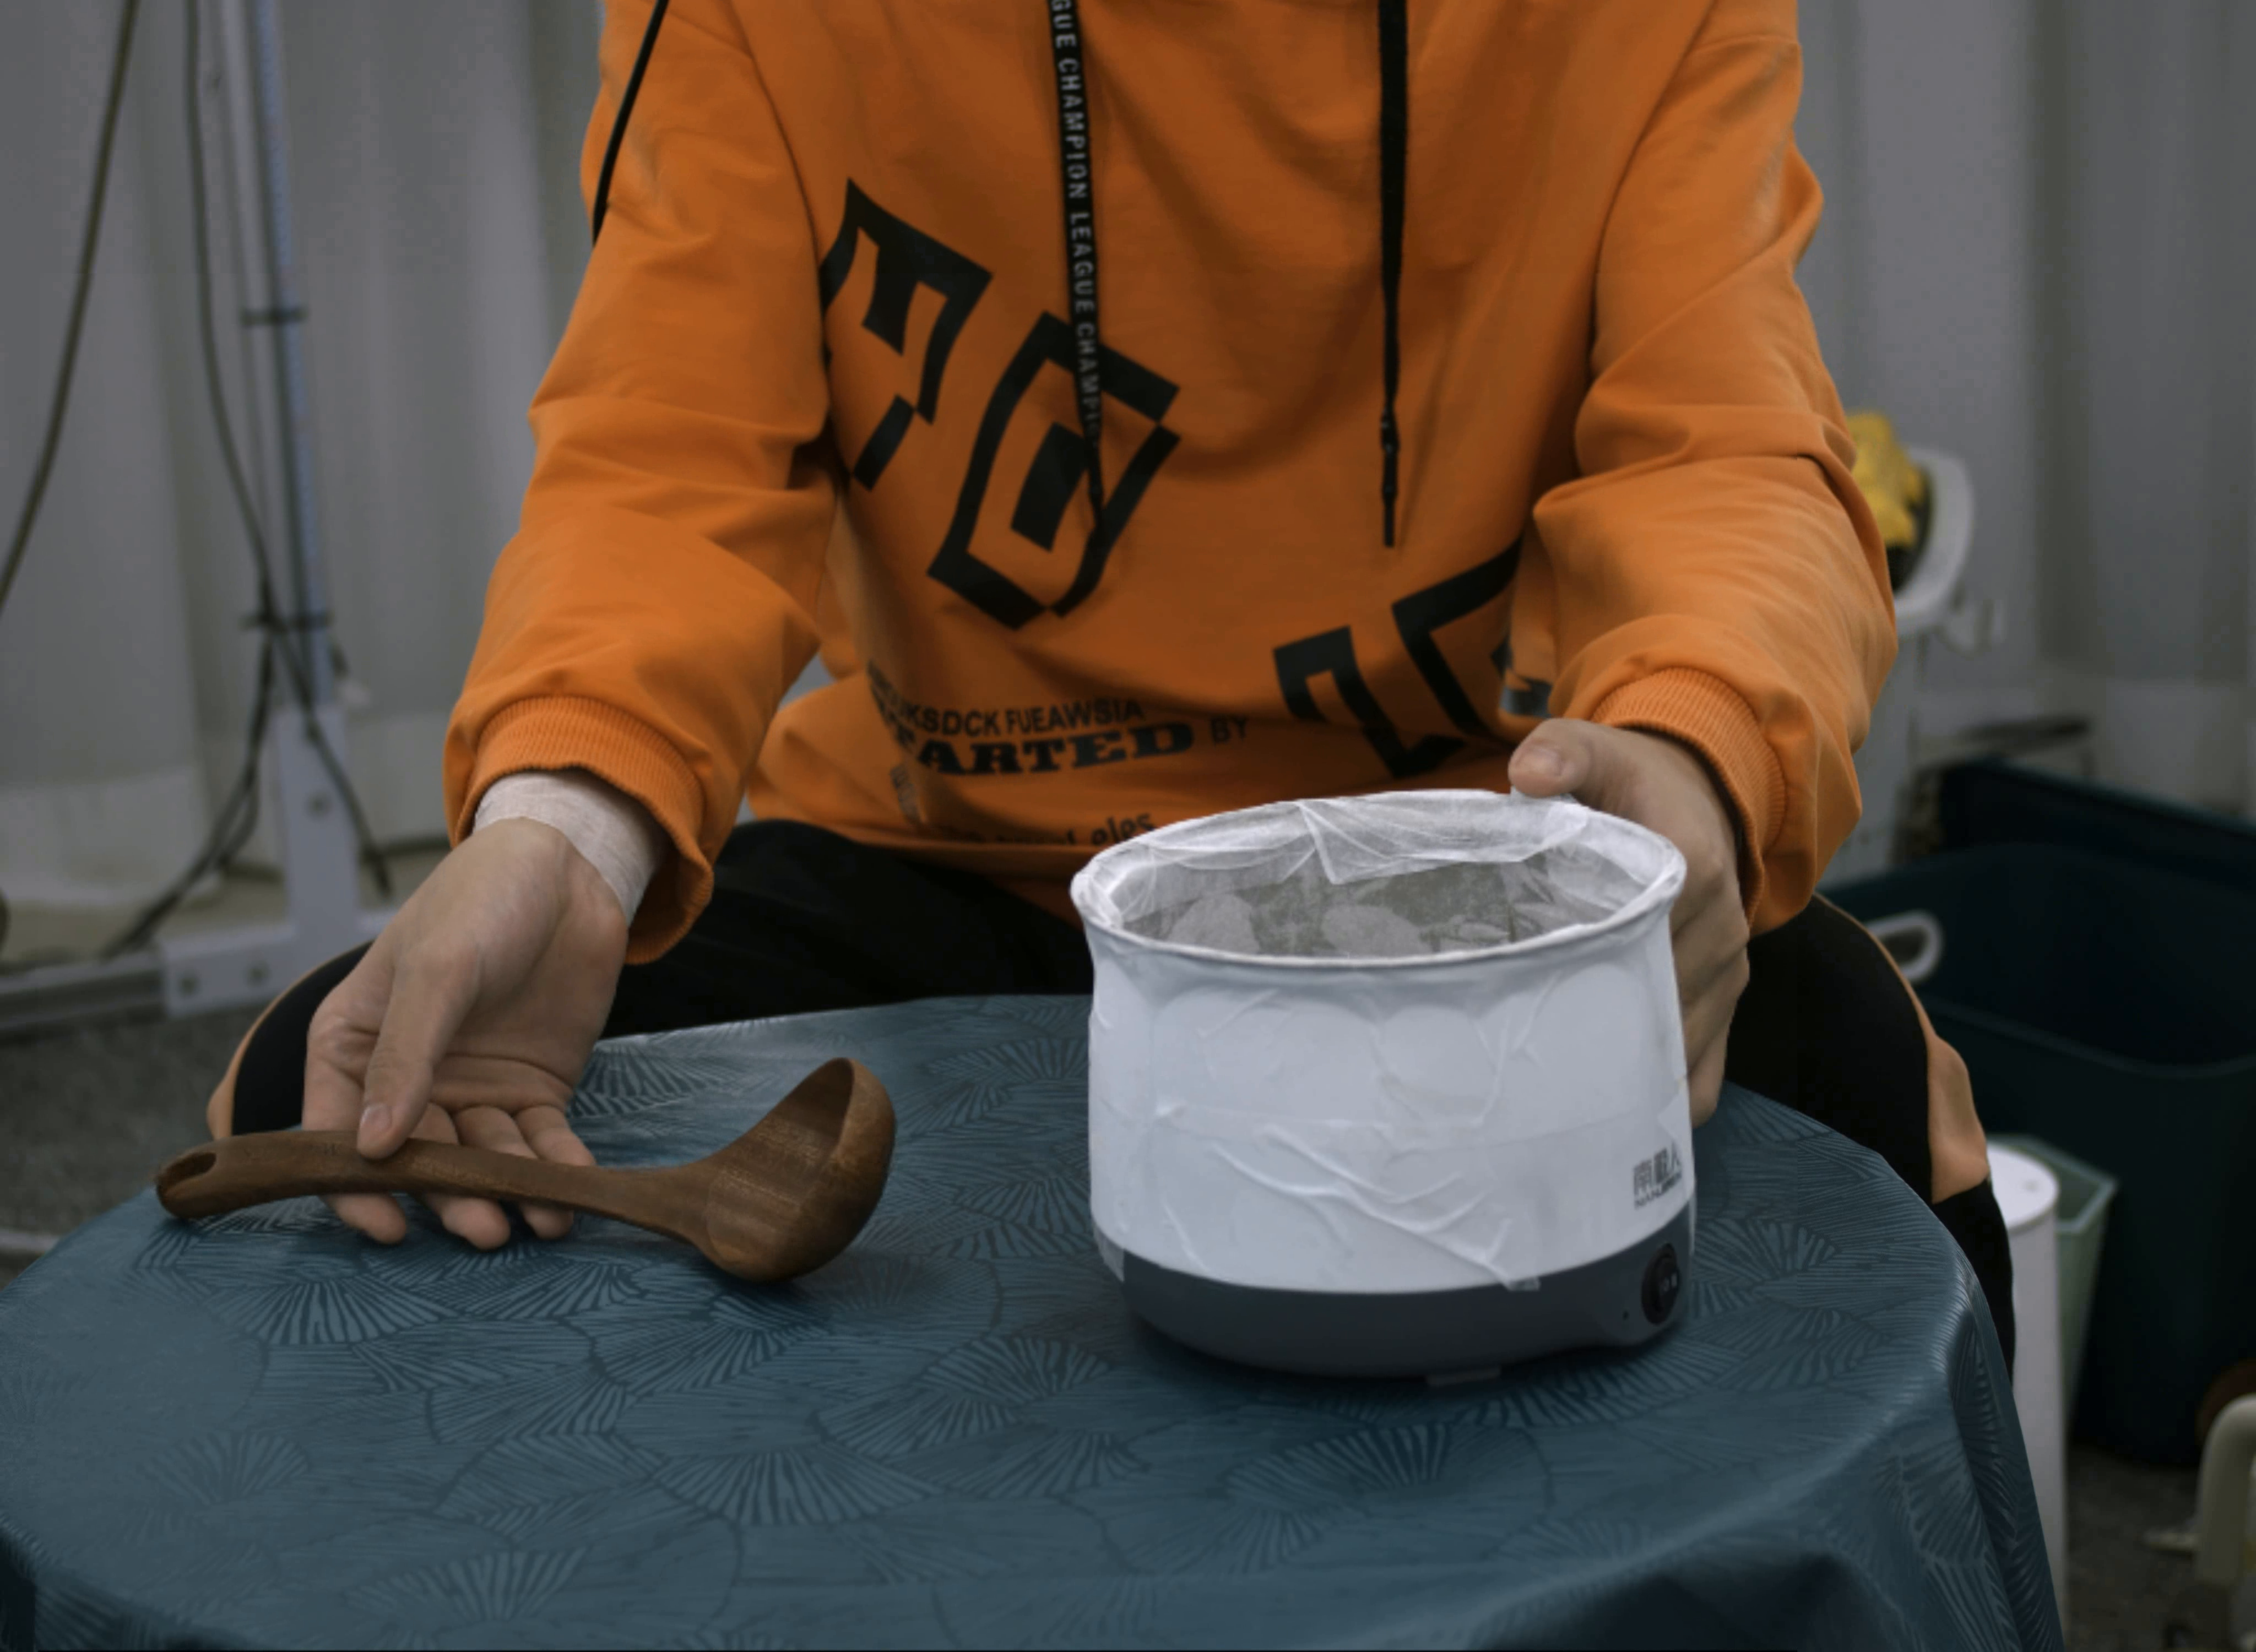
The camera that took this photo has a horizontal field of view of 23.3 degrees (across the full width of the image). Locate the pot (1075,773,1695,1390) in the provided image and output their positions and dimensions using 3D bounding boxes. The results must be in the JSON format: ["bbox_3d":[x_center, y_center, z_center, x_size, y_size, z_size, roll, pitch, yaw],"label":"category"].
[{"bbox_3d":[0.089,0.068,1.609,0.179,0.136,0.234,6,17,29],"label":"pot"}]

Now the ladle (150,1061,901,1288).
[{"bbox_3d":[-0.191,0.102,1.684,0.260,0.064,0.077,3,43,19],"label":"ladle"}]
